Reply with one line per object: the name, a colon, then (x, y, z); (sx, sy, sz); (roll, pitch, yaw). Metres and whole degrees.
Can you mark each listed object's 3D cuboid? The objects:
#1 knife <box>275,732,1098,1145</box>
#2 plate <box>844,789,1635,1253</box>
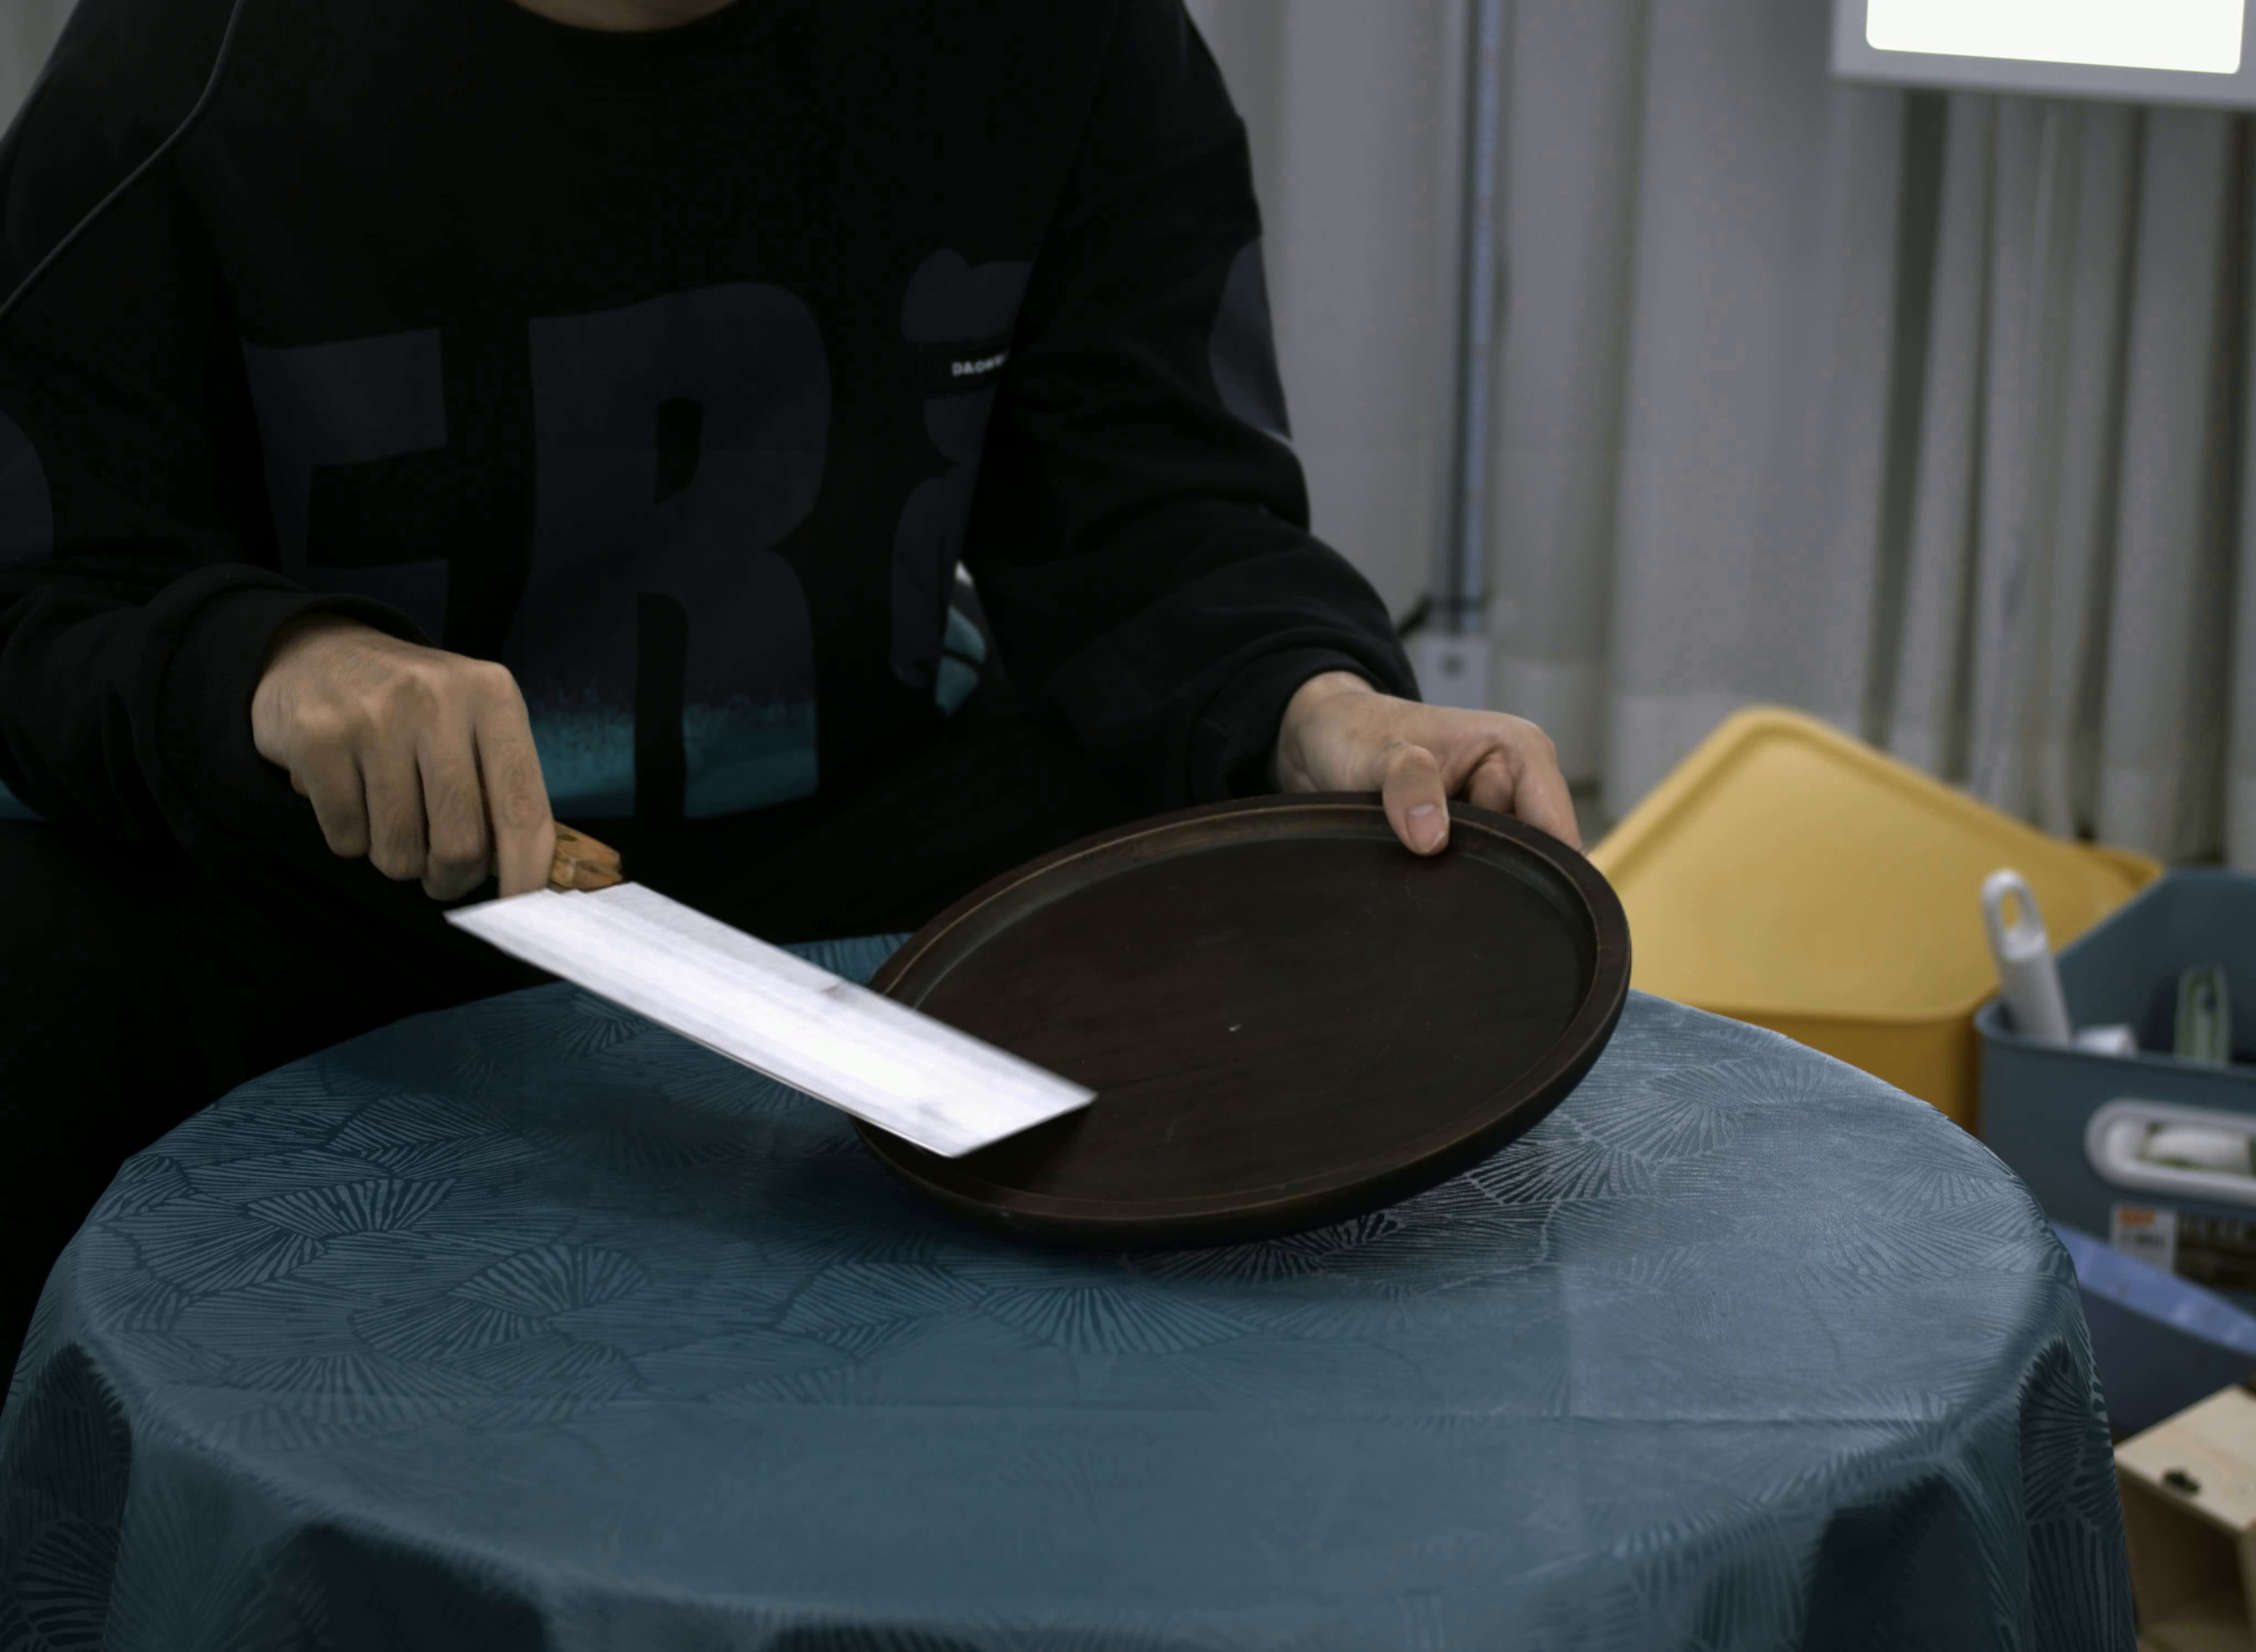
knife: (-0.155, 0.036, 1.647); (0.302, 0.021, 0.093); (22, 23, 22)
plate: (0.035, 0.059, 1.650); (0.253, 0.029, 0.253); (-8, 28, 5)
